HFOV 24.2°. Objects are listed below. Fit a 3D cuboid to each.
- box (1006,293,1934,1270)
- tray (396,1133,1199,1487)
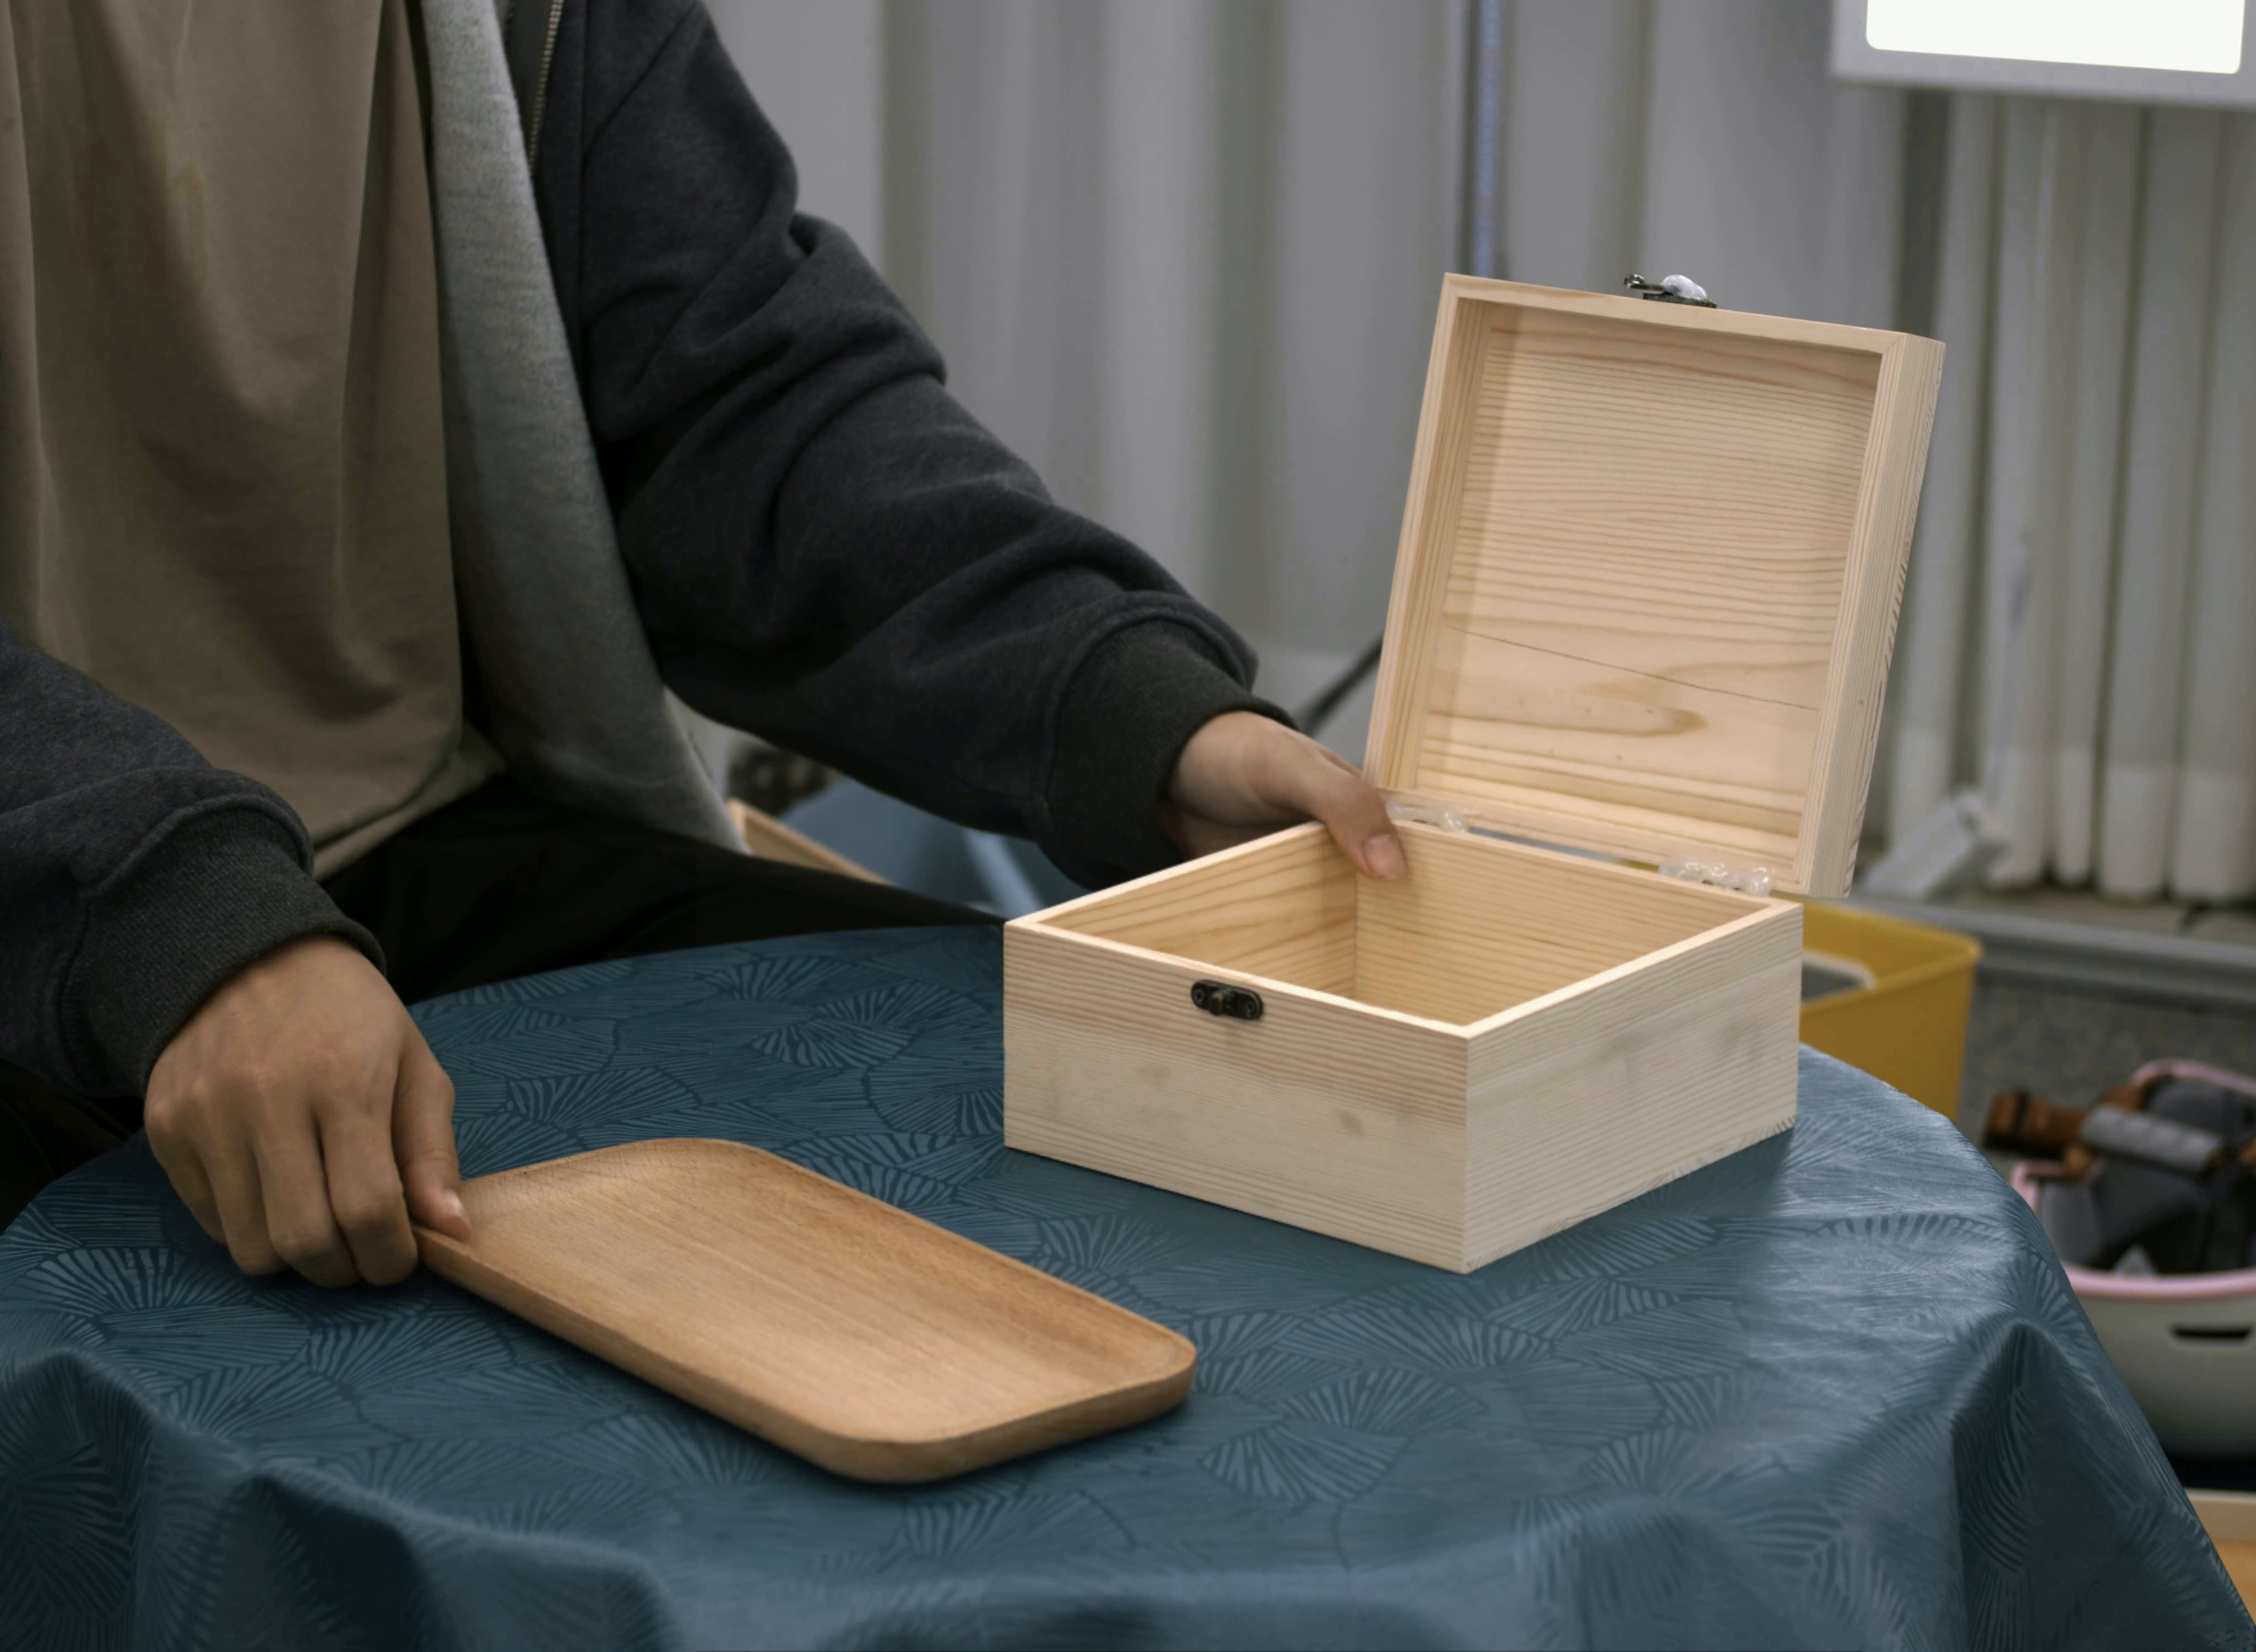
[{"bbox_3d":[0.108,-0.026,1.668,0.179,0.255,0.266,10,17,37],"label":"box"},{"bbox_3d":[-0.098,0.135,1.500,0.131,0.023,0.247,-8,17,-40],"label":"tray"}]
